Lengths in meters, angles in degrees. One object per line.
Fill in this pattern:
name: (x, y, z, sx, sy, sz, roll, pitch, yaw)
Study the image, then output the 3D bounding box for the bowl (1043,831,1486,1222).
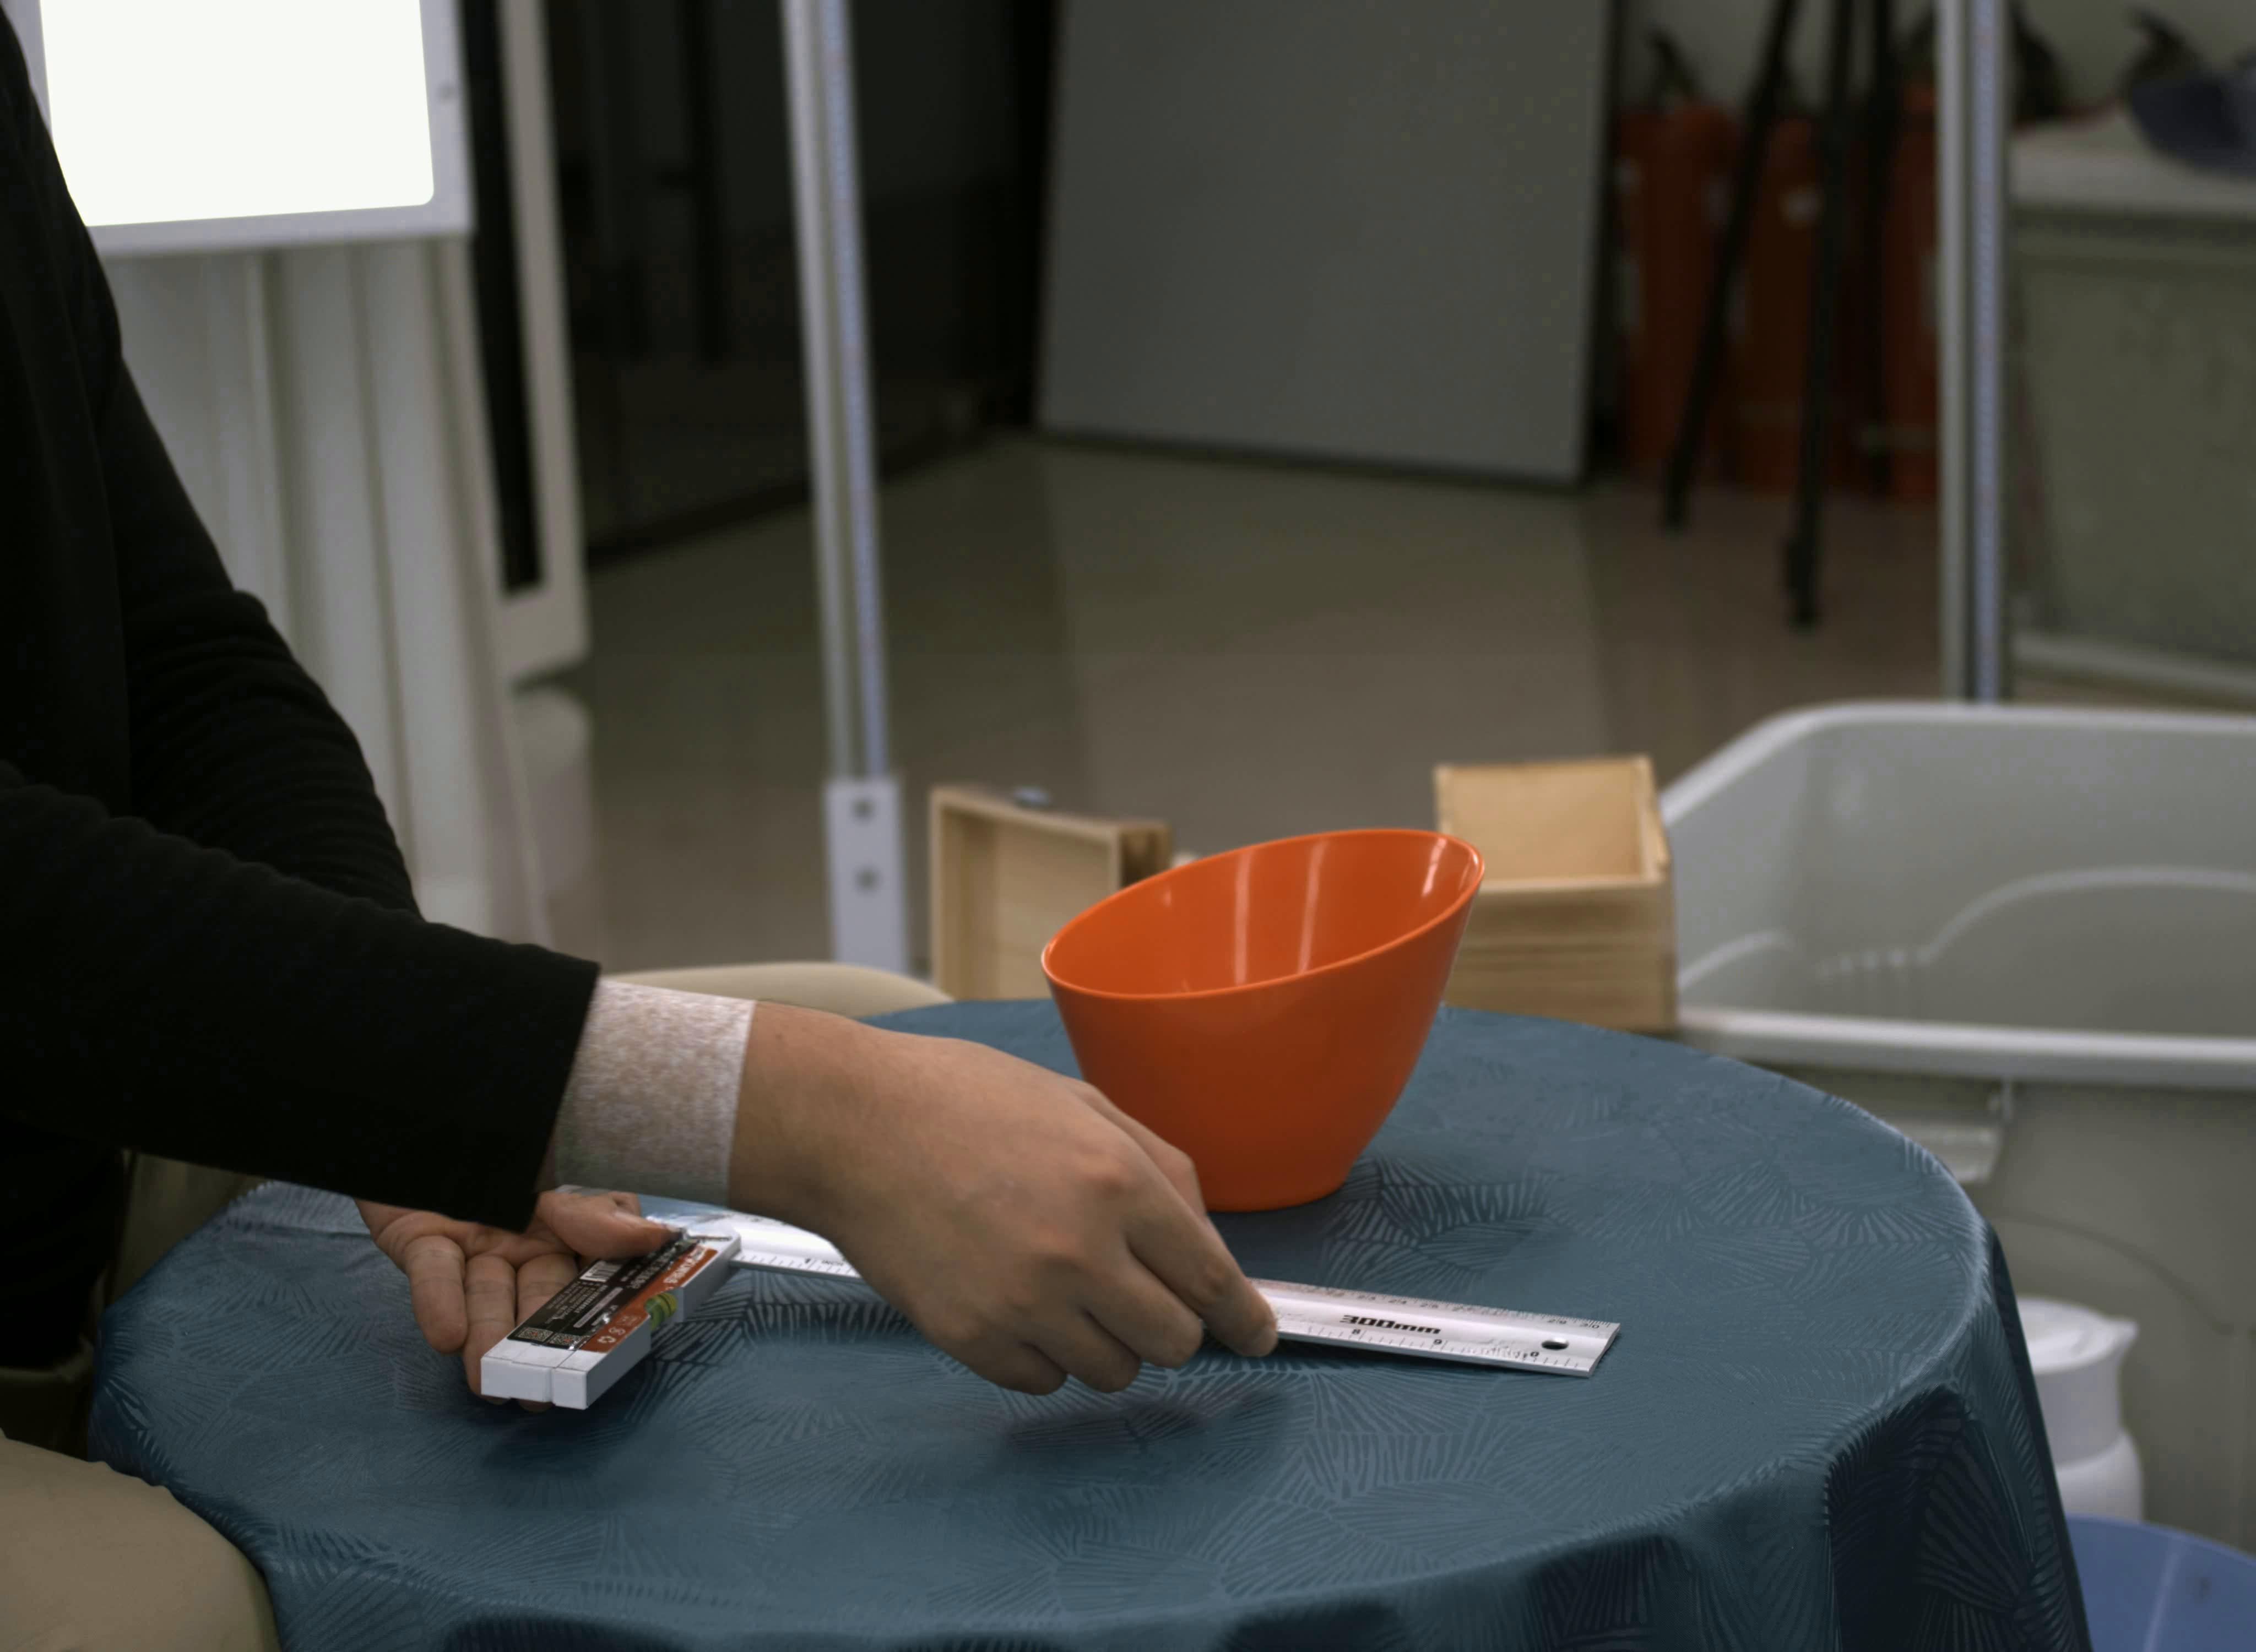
bowl: (0.047, 0.068, 1.760, 0.146, 0.106, 0.148, -4, 15, 0)

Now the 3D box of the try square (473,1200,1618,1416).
try square: (-0.023, 0.155, 1.592, 0.312, 0.016, 0.151, 5, 18, 19)
